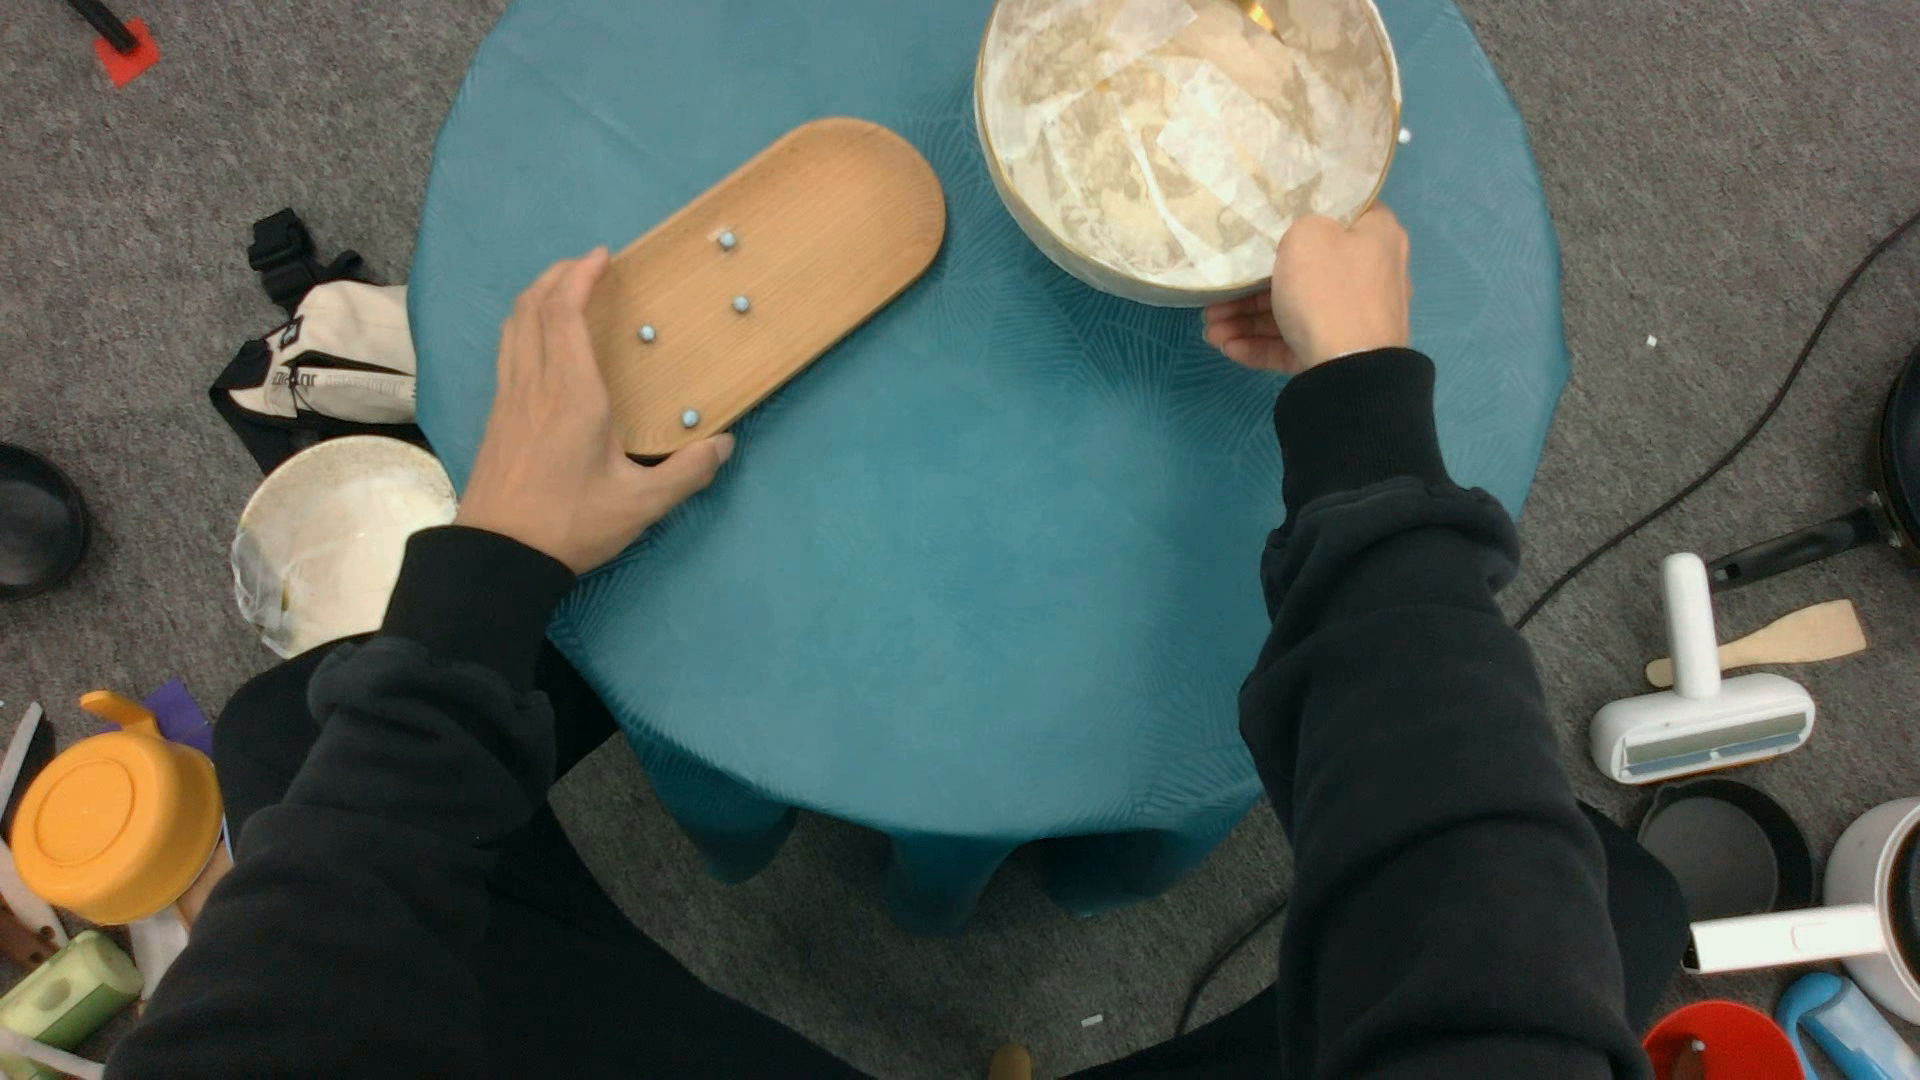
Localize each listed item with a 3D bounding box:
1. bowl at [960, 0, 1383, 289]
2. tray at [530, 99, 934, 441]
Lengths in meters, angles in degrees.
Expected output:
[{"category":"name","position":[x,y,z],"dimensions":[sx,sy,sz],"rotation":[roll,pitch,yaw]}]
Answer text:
[{"category":"bowl","position":[0.093,-0.210,0.683],"dimensions":[0.215,0.094,0.215],"rotation":[1,80,-7]},{"category":"tray","position":[-0.110,-0.138,0.692],"dimensions":[0.232,0.020,0.101],"rotation":[-42,88,-20]}]
